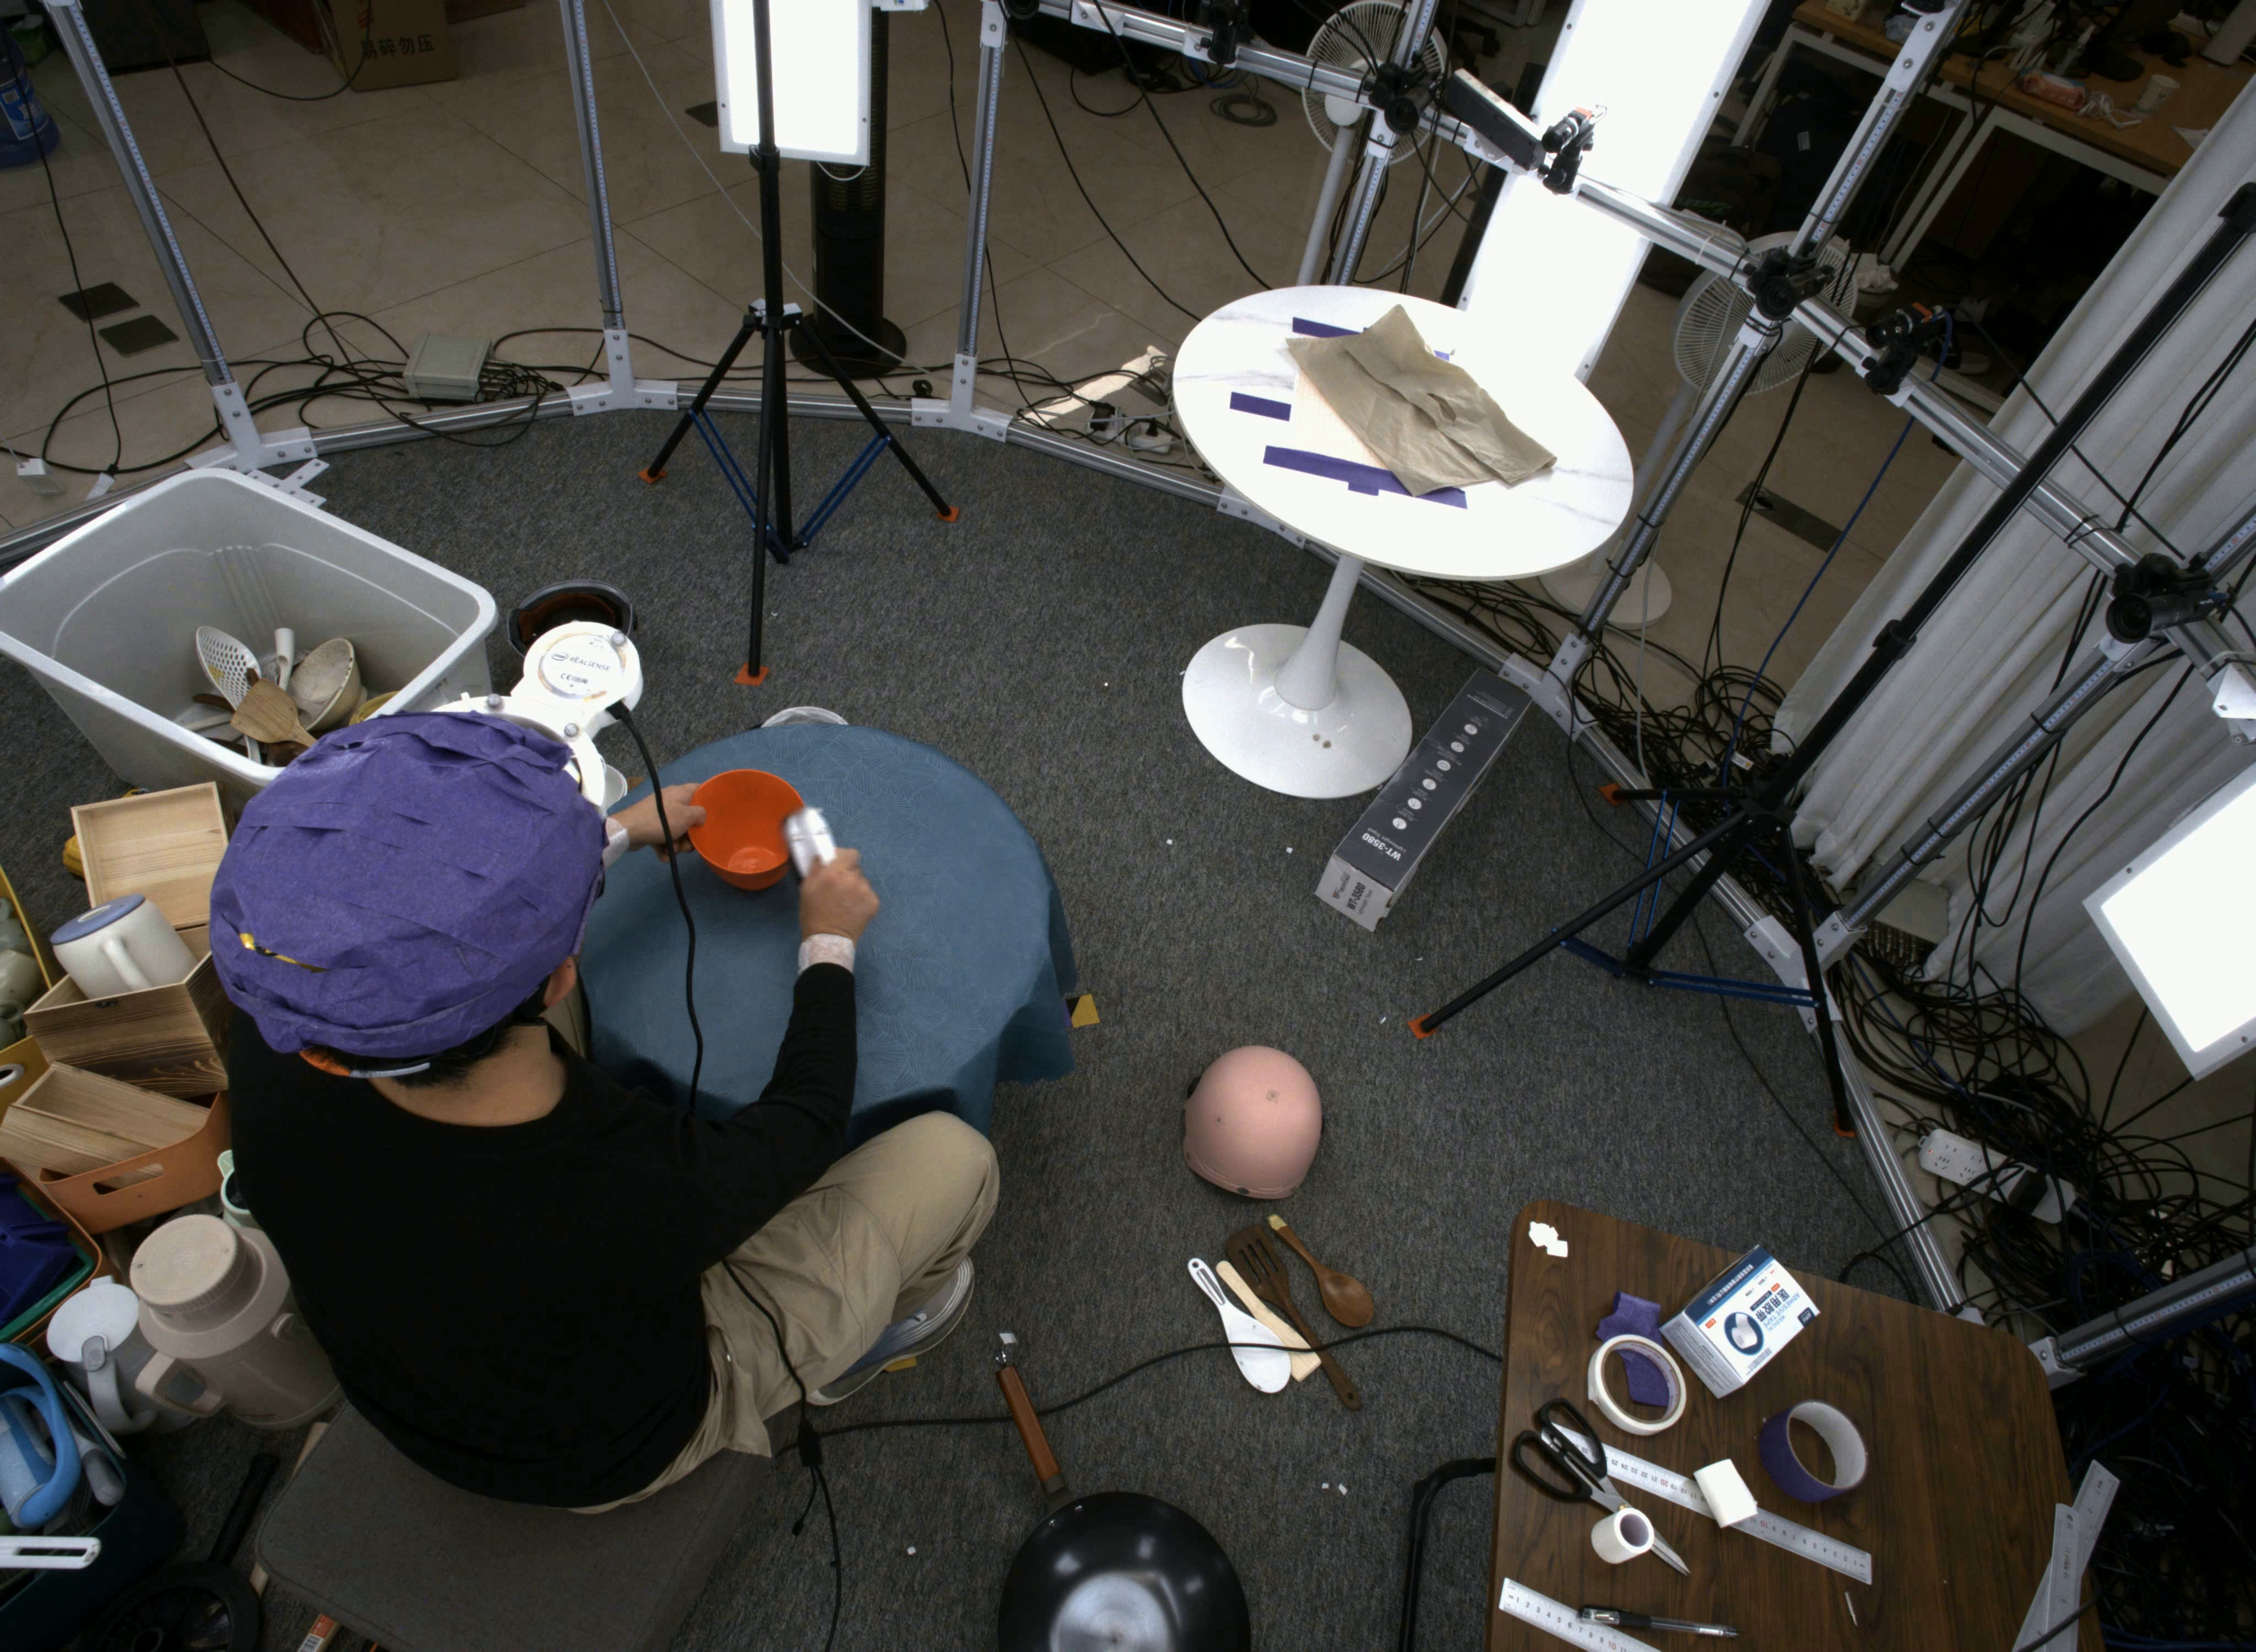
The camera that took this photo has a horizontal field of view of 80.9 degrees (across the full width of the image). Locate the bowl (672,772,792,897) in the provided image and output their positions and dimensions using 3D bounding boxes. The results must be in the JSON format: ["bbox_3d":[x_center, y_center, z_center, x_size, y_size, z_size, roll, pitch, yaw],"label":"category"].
[{"bbox_3d":[-0.492,0.021,1.623,0.147,0.107,0.145,7,53,-7],"label":"bowl"}]

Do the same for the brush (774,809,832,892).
[{"bbox_3d":[-0.380,0.028,1.542,0.051,0.070,0.101,-18,101,-38],"label":"brush"}]
